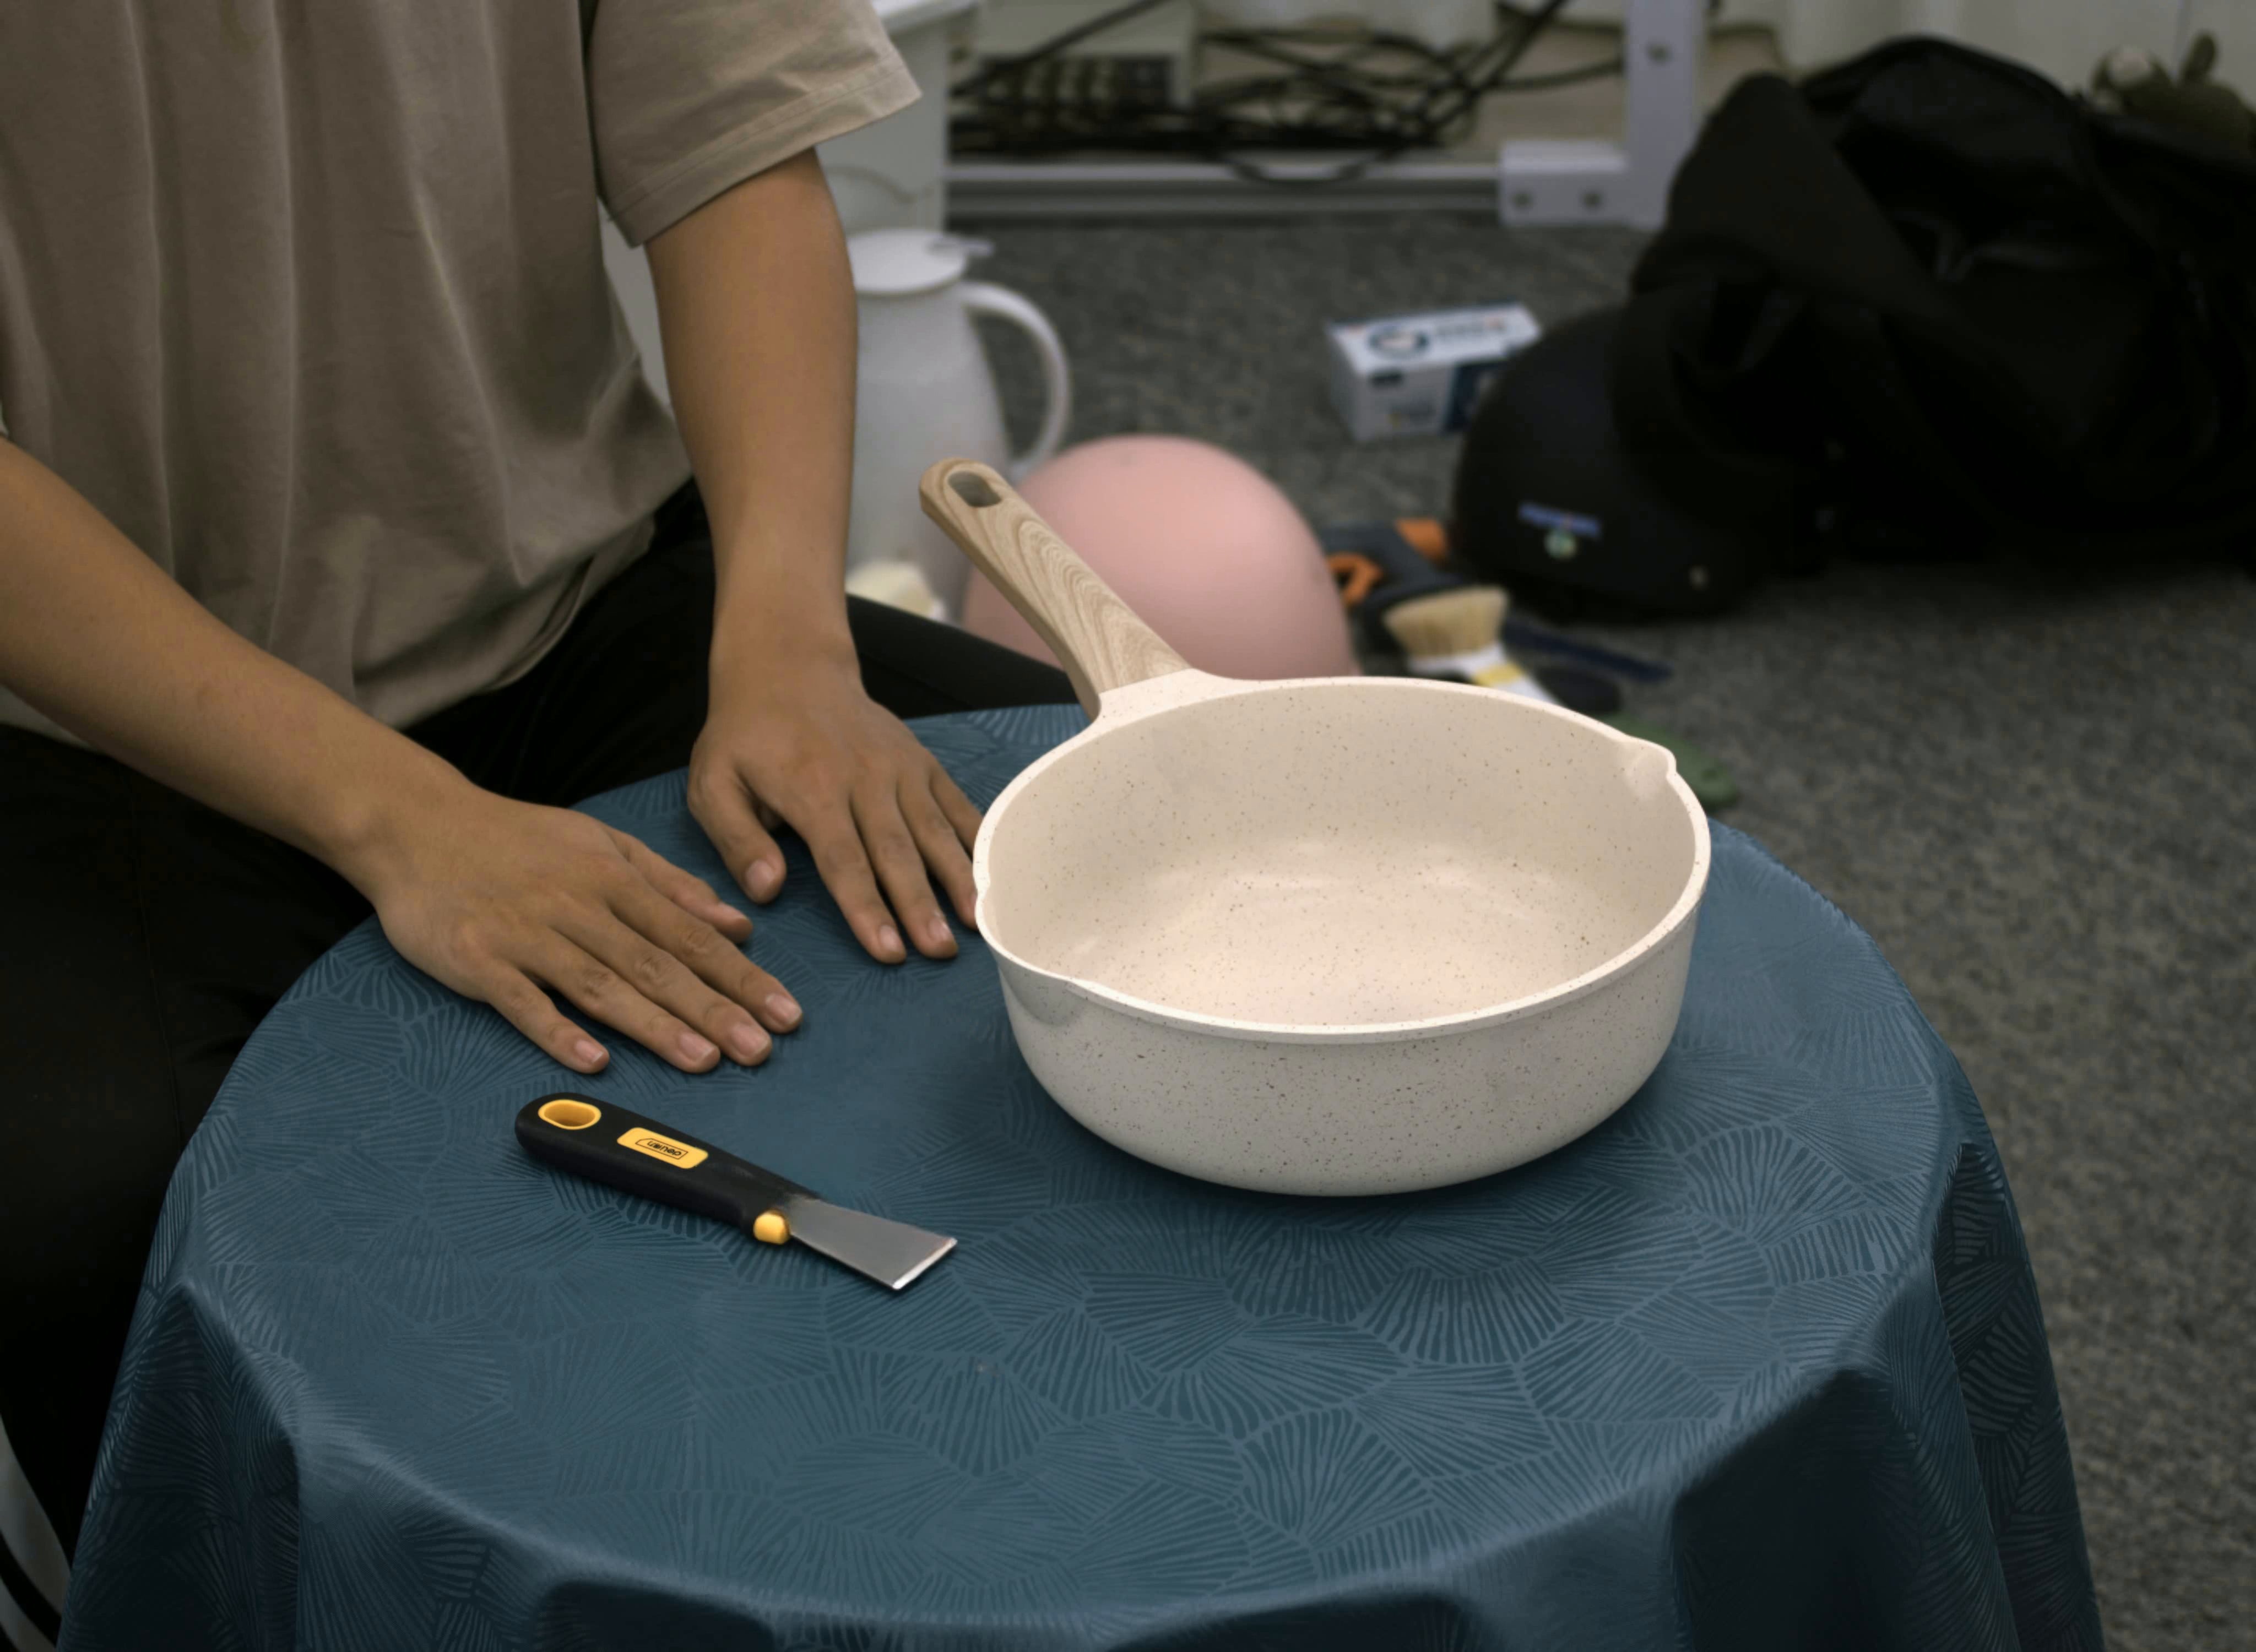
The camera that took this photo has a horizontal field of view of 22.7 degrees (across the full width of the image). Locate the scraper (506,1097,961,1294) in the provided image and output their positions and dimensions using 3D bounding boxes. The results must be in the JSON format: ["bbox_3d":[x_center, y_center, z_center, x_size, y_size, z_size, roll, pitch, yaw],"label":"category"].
[{"bbox_3d":[-0.135,0.122,1.857,0.170,0.015,0.039,16,39,28],"label":"scraper"}]

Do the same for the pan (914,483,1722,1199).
[{"bbox_3d":[0.036,-0.002,1.995,0.265,0.101,0.437,-18,31,-22],"label":"pan"}]
